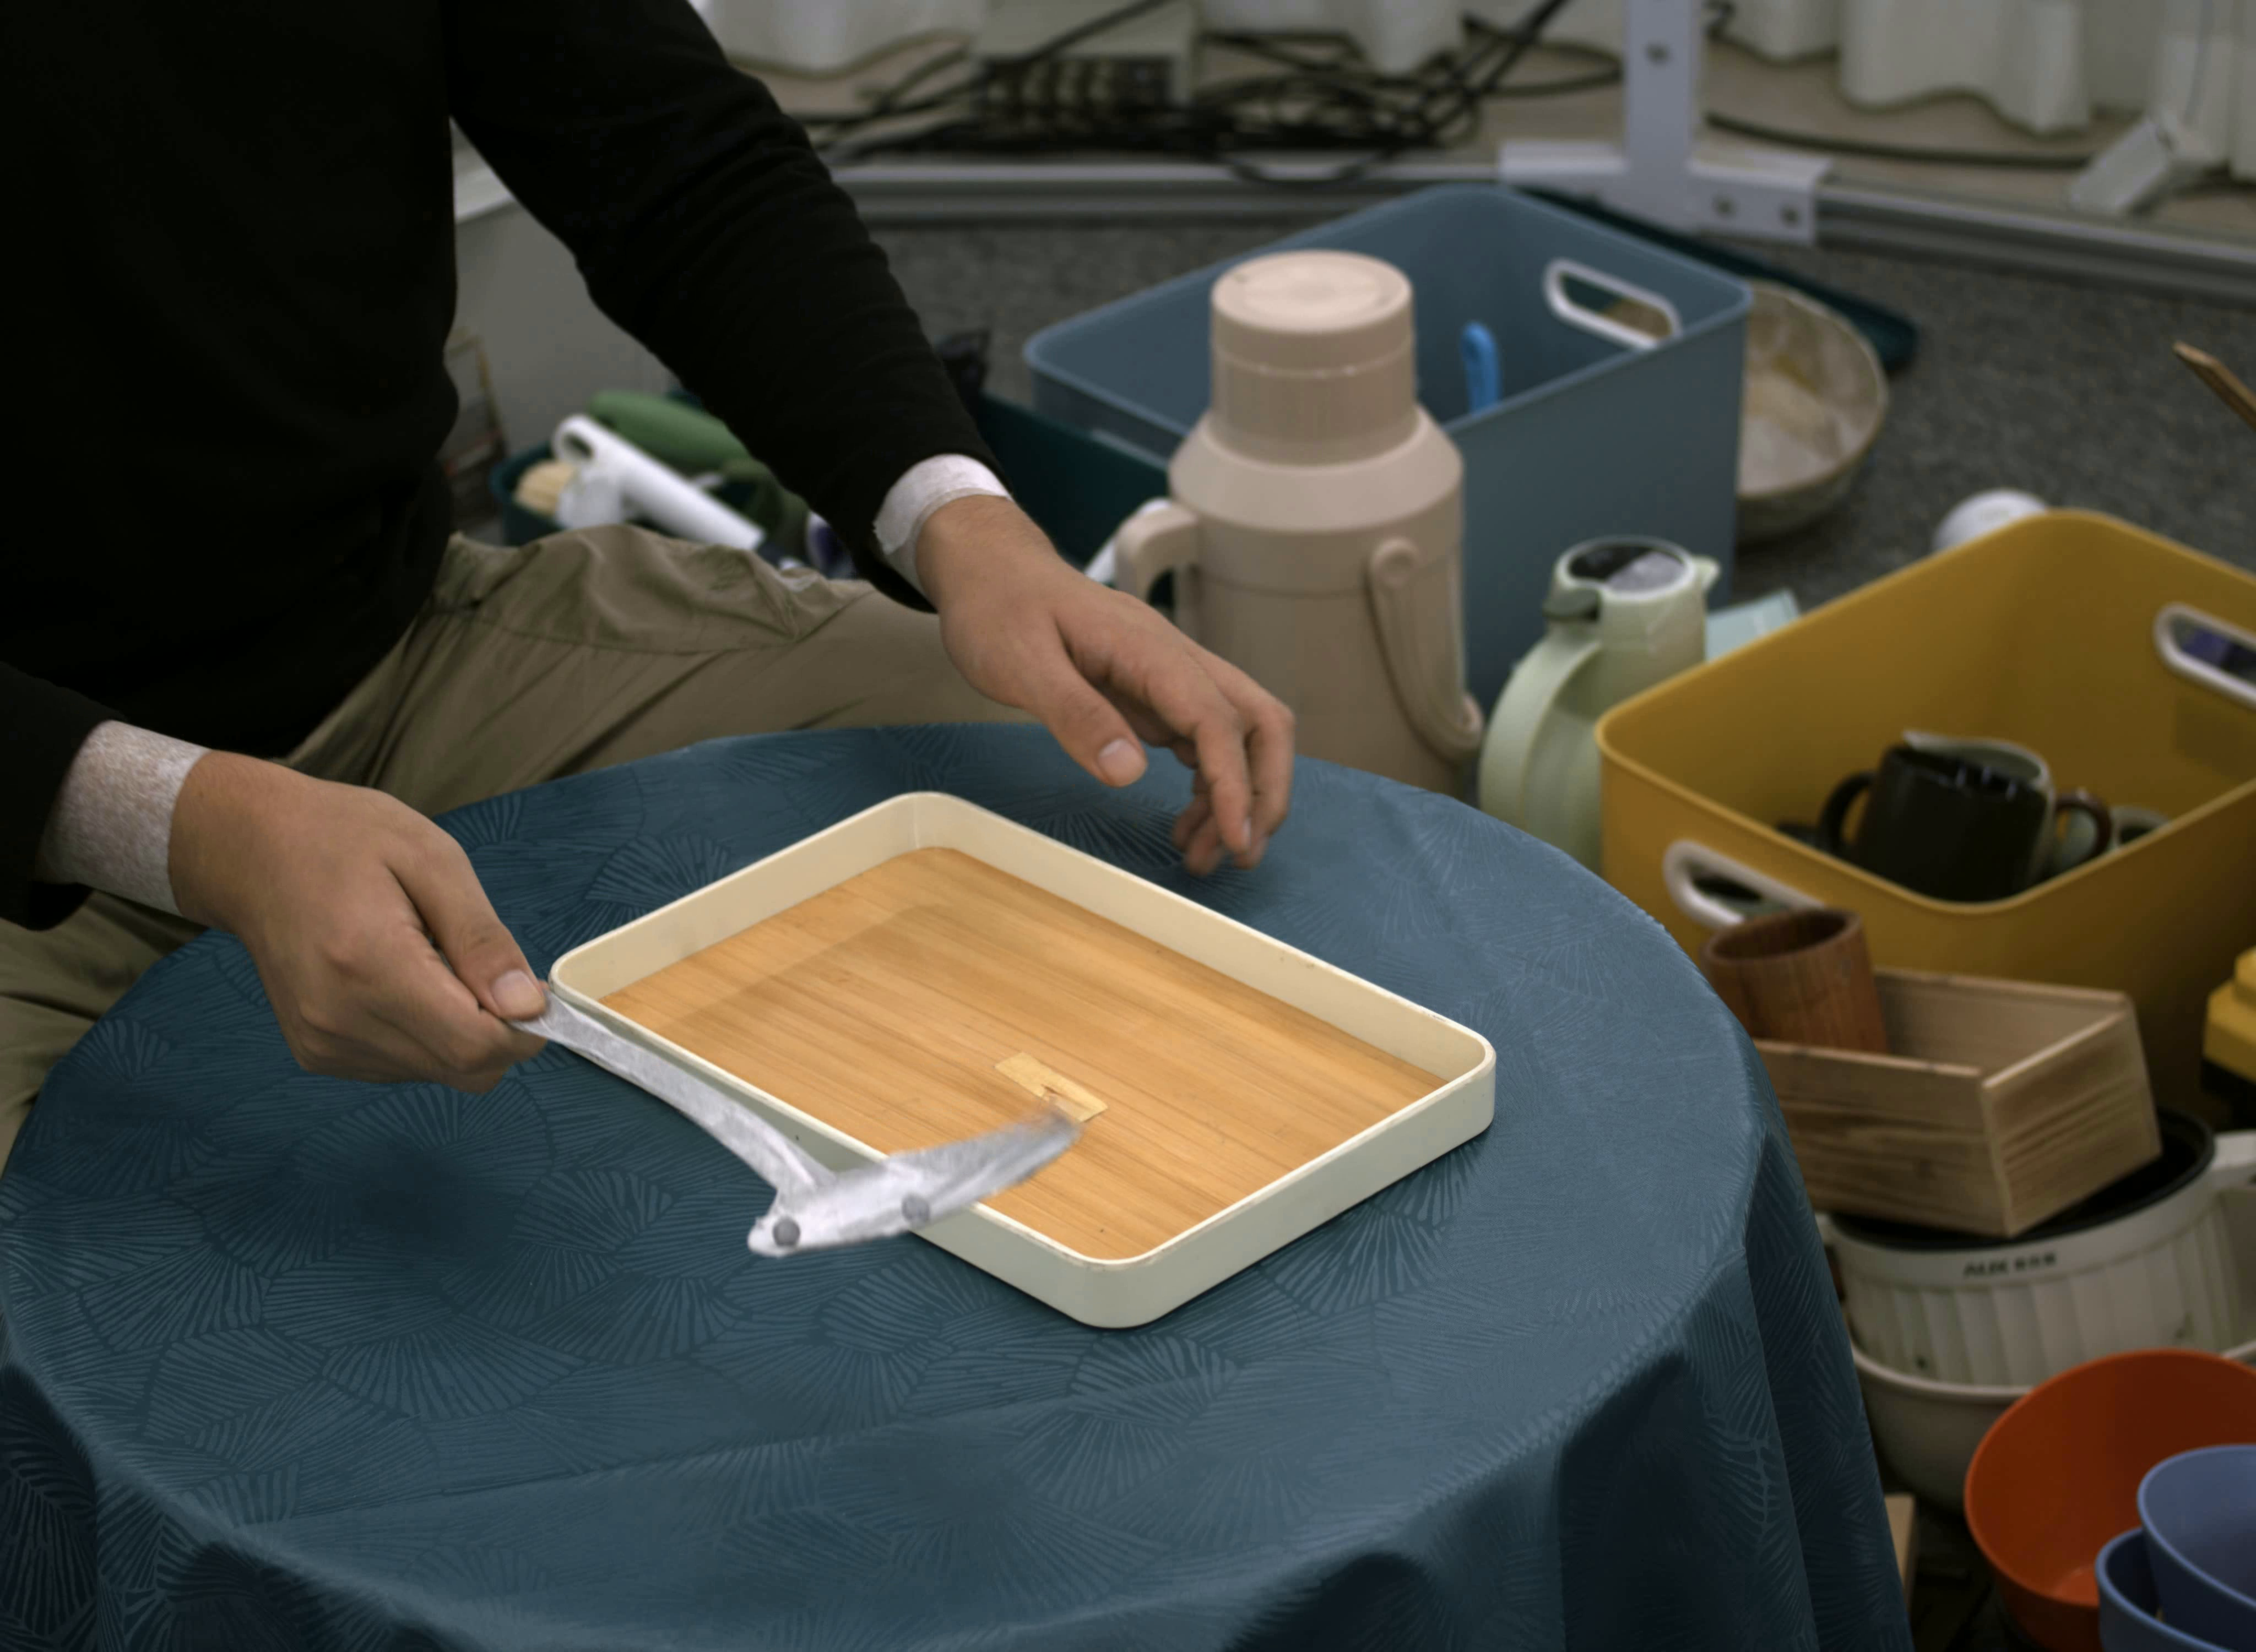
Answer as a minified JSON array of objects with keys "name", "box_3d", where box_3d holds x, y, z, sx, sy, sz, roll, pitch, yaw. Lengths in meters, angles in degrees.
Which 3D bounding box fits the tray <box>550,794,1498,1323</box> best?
[{"name":"tray","box_3d":[-0.039,0.074,1.927,0.194,0.027,0.300,-25,35,-37]}]

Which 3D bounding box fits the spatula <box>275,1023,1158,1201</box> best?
[{"name":"spatula","box_3d":[-0.149,0.078,1.739,0.362,0.045,0.099,10,13,40]}]
